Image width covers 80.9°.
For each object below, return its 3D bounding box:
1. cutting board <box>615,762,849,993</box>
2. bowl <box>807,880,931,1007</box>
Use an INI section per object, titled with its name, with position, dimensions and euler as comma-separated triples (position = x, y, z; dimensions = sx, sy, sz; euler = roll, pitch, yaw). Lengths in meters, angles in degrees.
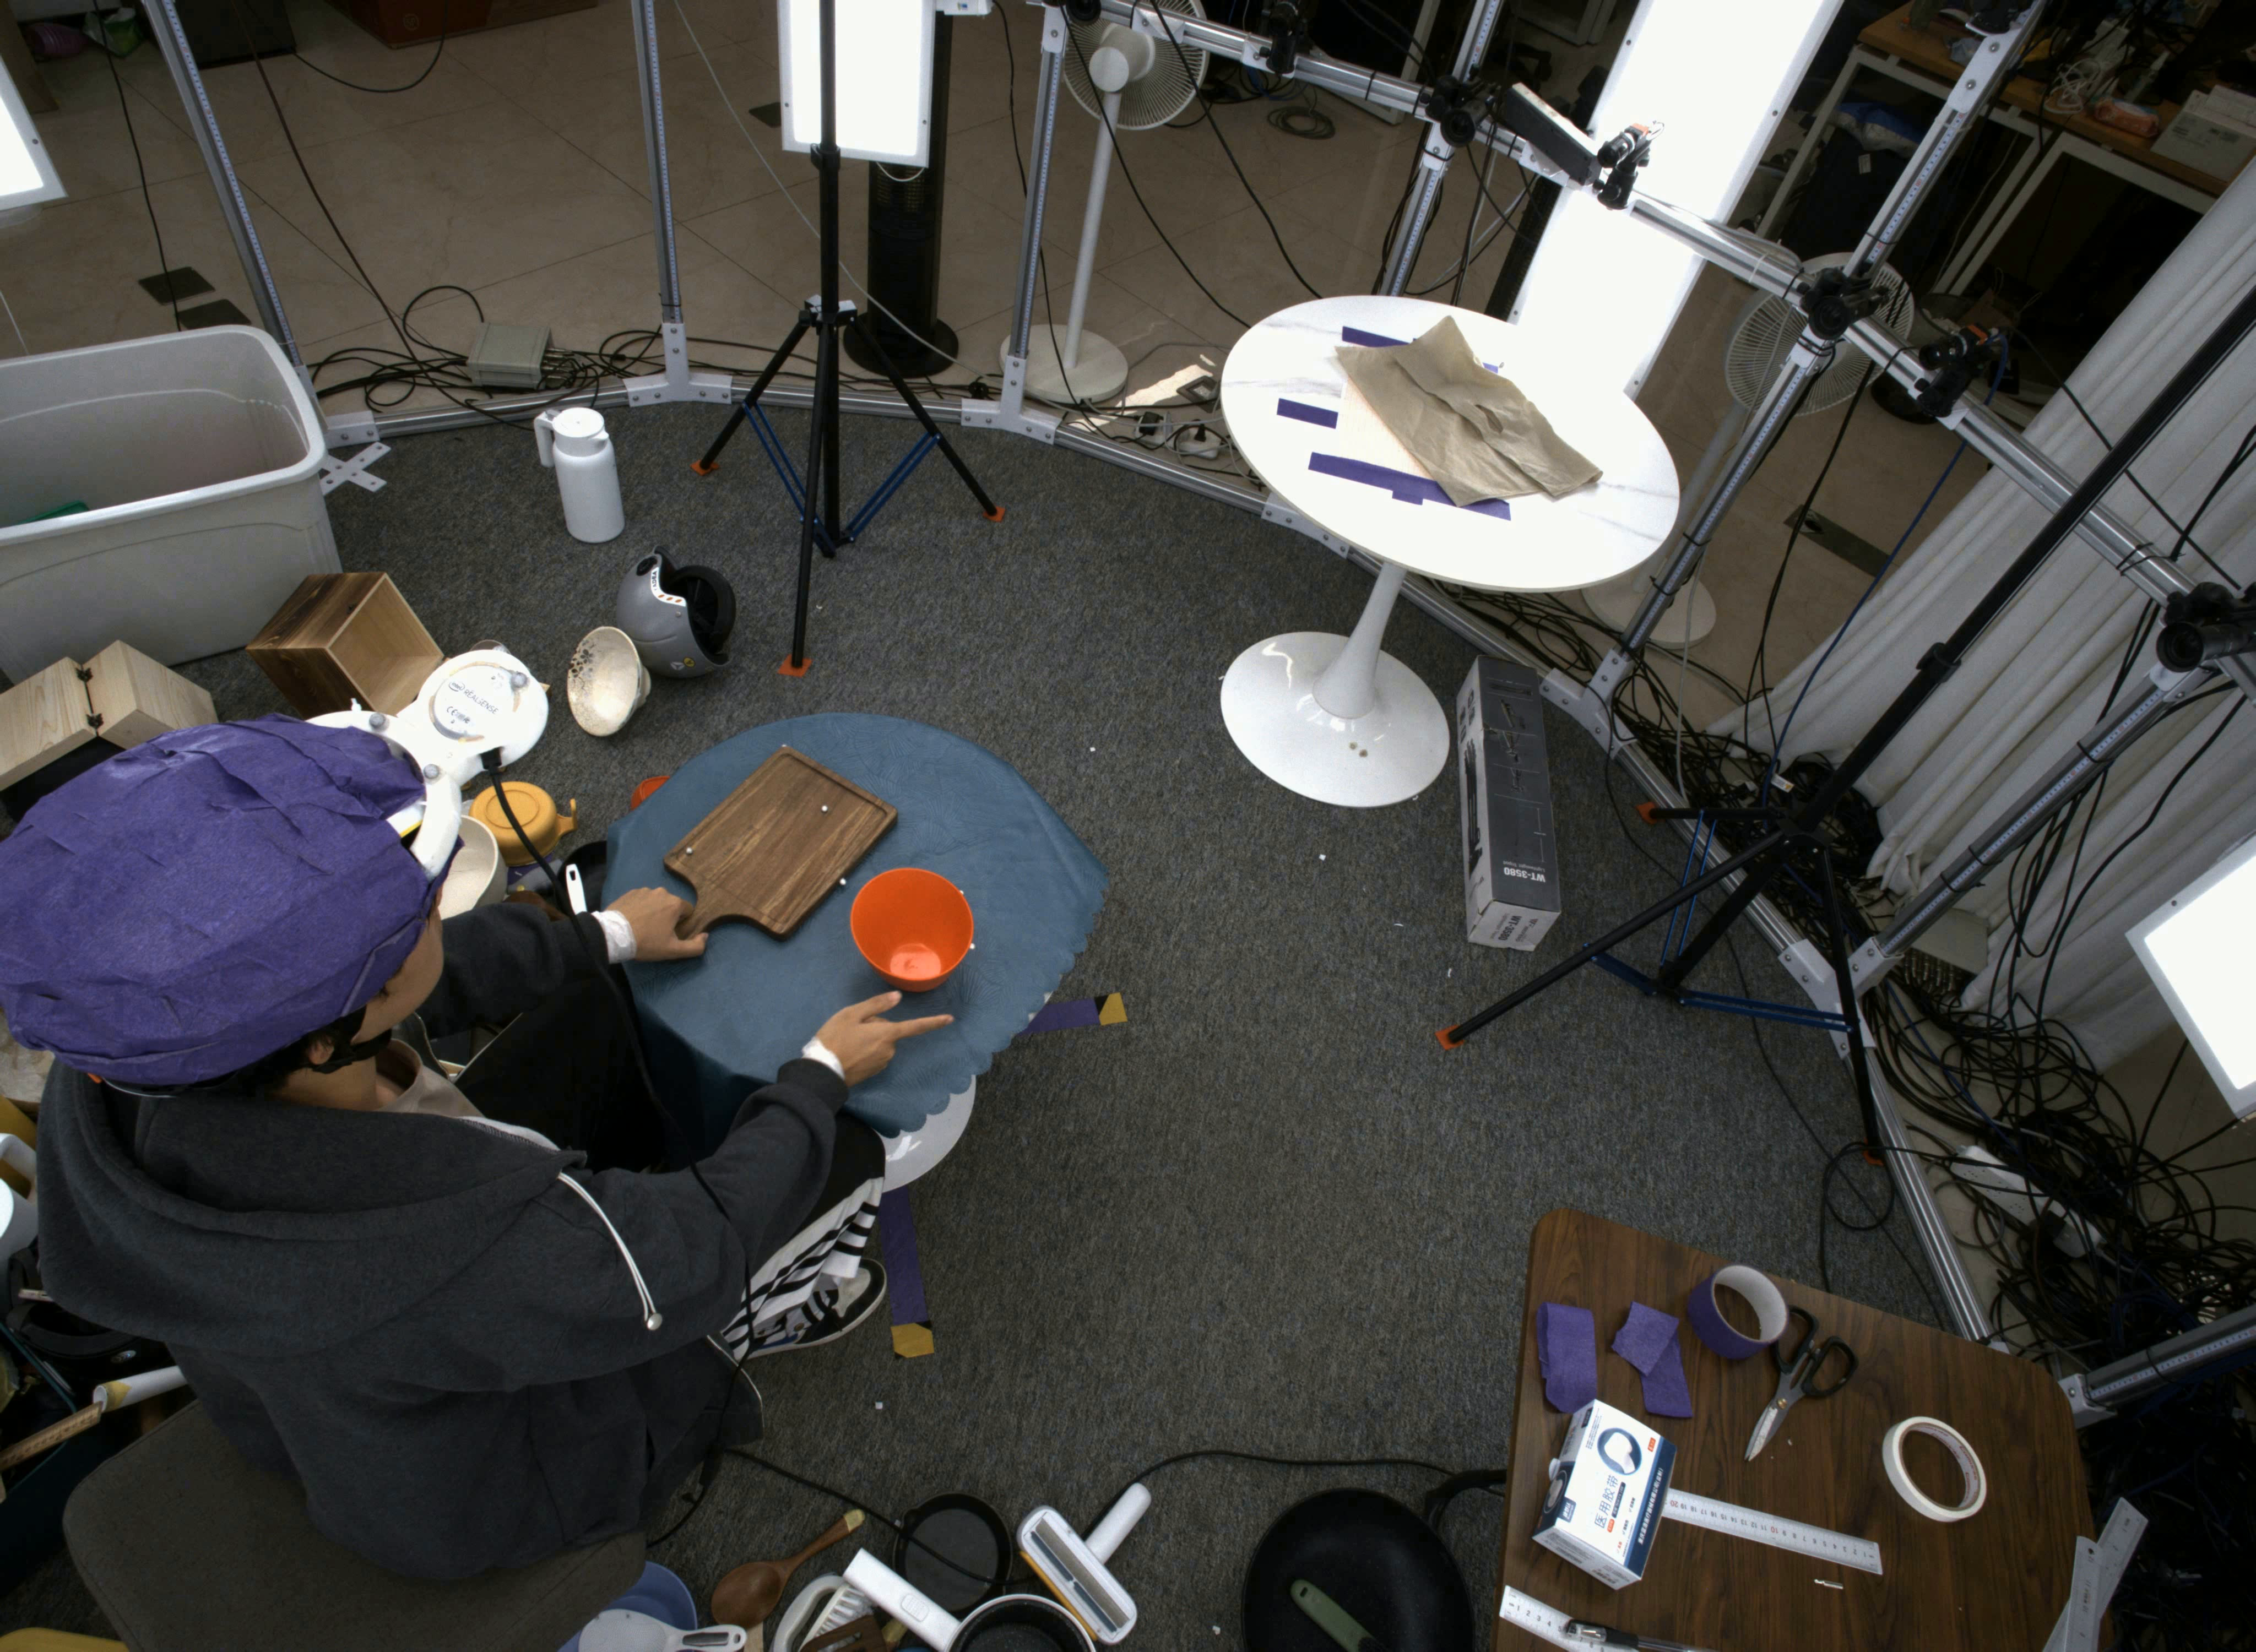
[cutting board]
position = -0.529, 0.071, 1.635
dimensions = 0.198, 0.023, 0.350
euler = 27, 52, 7
[bowl]
position = -0.313, 0.153, 1.577
dimensions = 0.148, 0.107, 0.145
euler = 8, 51, -8
